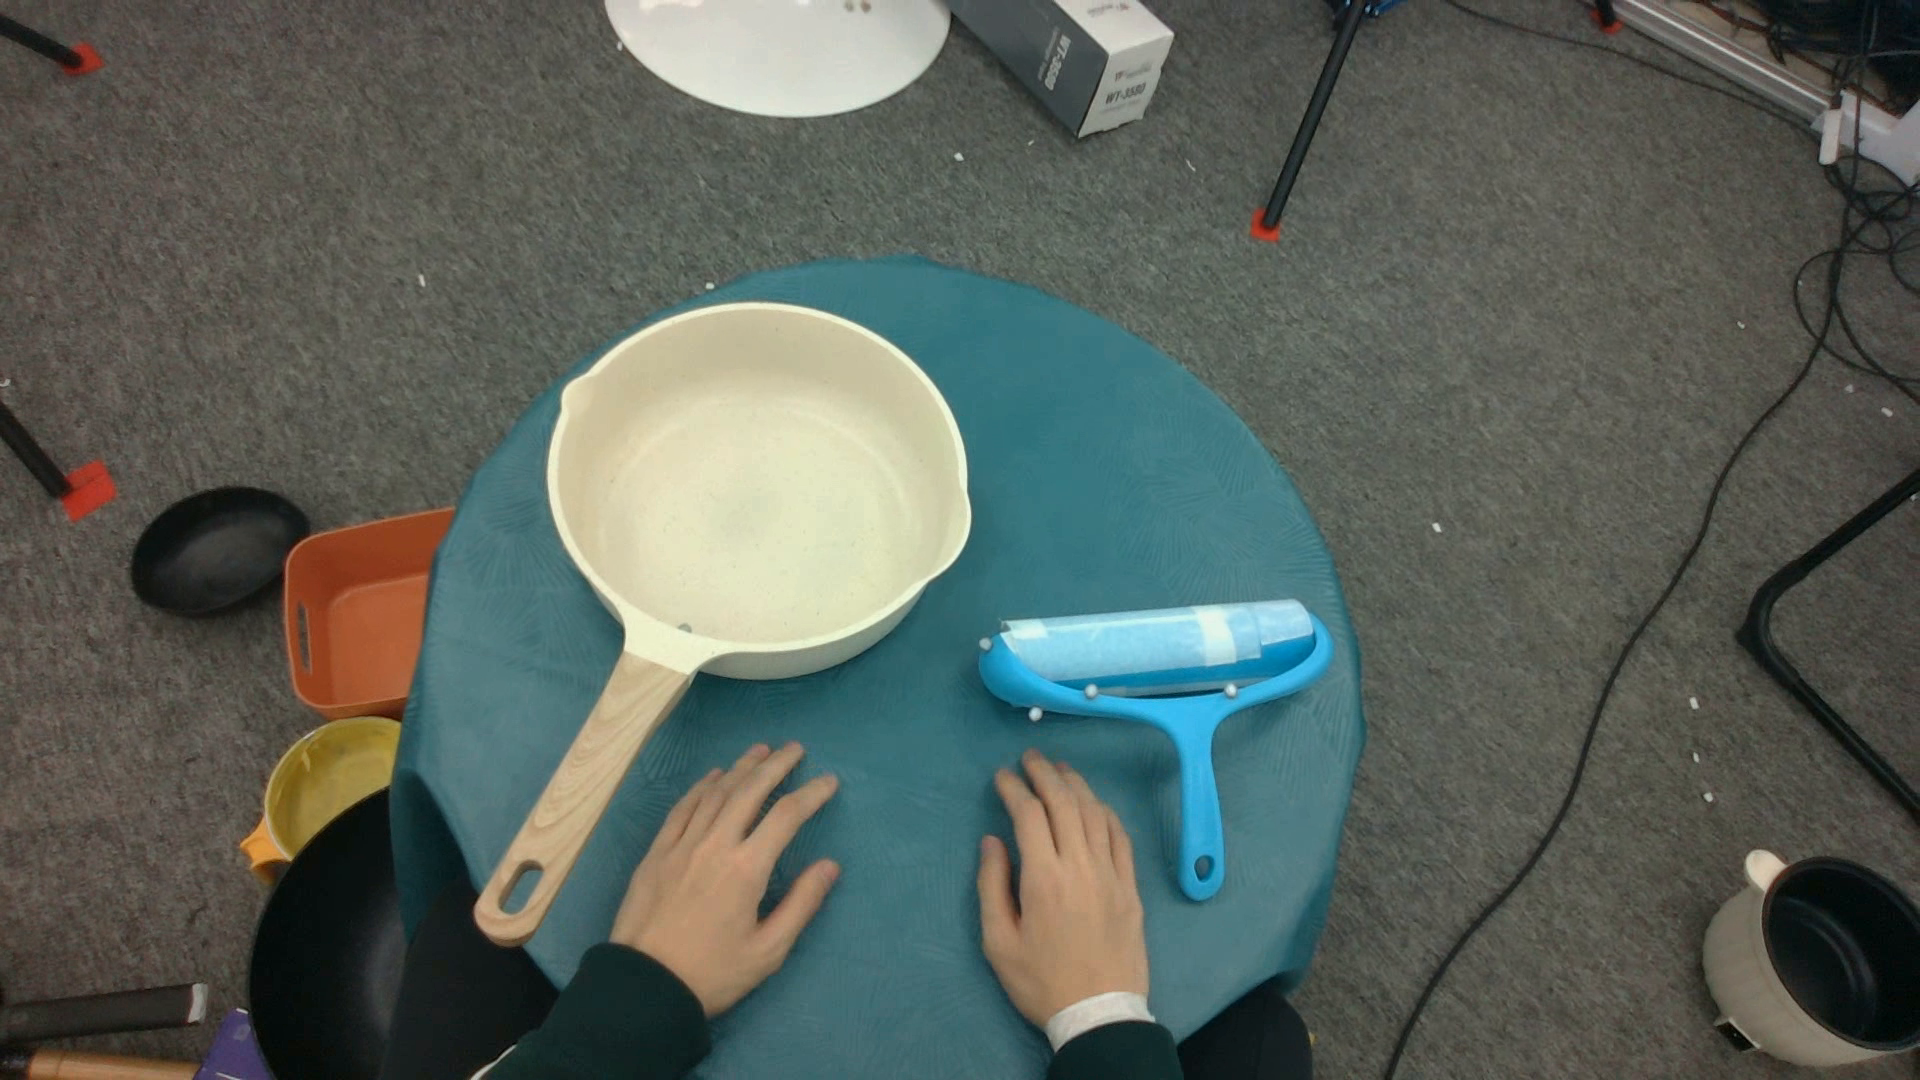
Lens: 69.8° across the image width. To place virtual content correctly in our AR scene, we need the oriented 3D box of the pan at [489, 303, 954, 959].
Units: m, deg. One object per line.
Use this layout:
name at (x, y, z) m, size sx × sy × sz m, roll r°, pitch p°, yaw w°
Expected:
pan at (-0.162, 0.045, 0.813) m, size 0.263 × 0.101 × 0.437 m, roll 19°, pitch 59°, yaw 2°

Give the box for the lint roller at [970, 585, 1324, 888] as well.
lint roller at (0.132, 0.115, 0.841) m, size 0.229 × 0.067 × 0.181 m, roll -7°, pitch 60°, yaw -14°
